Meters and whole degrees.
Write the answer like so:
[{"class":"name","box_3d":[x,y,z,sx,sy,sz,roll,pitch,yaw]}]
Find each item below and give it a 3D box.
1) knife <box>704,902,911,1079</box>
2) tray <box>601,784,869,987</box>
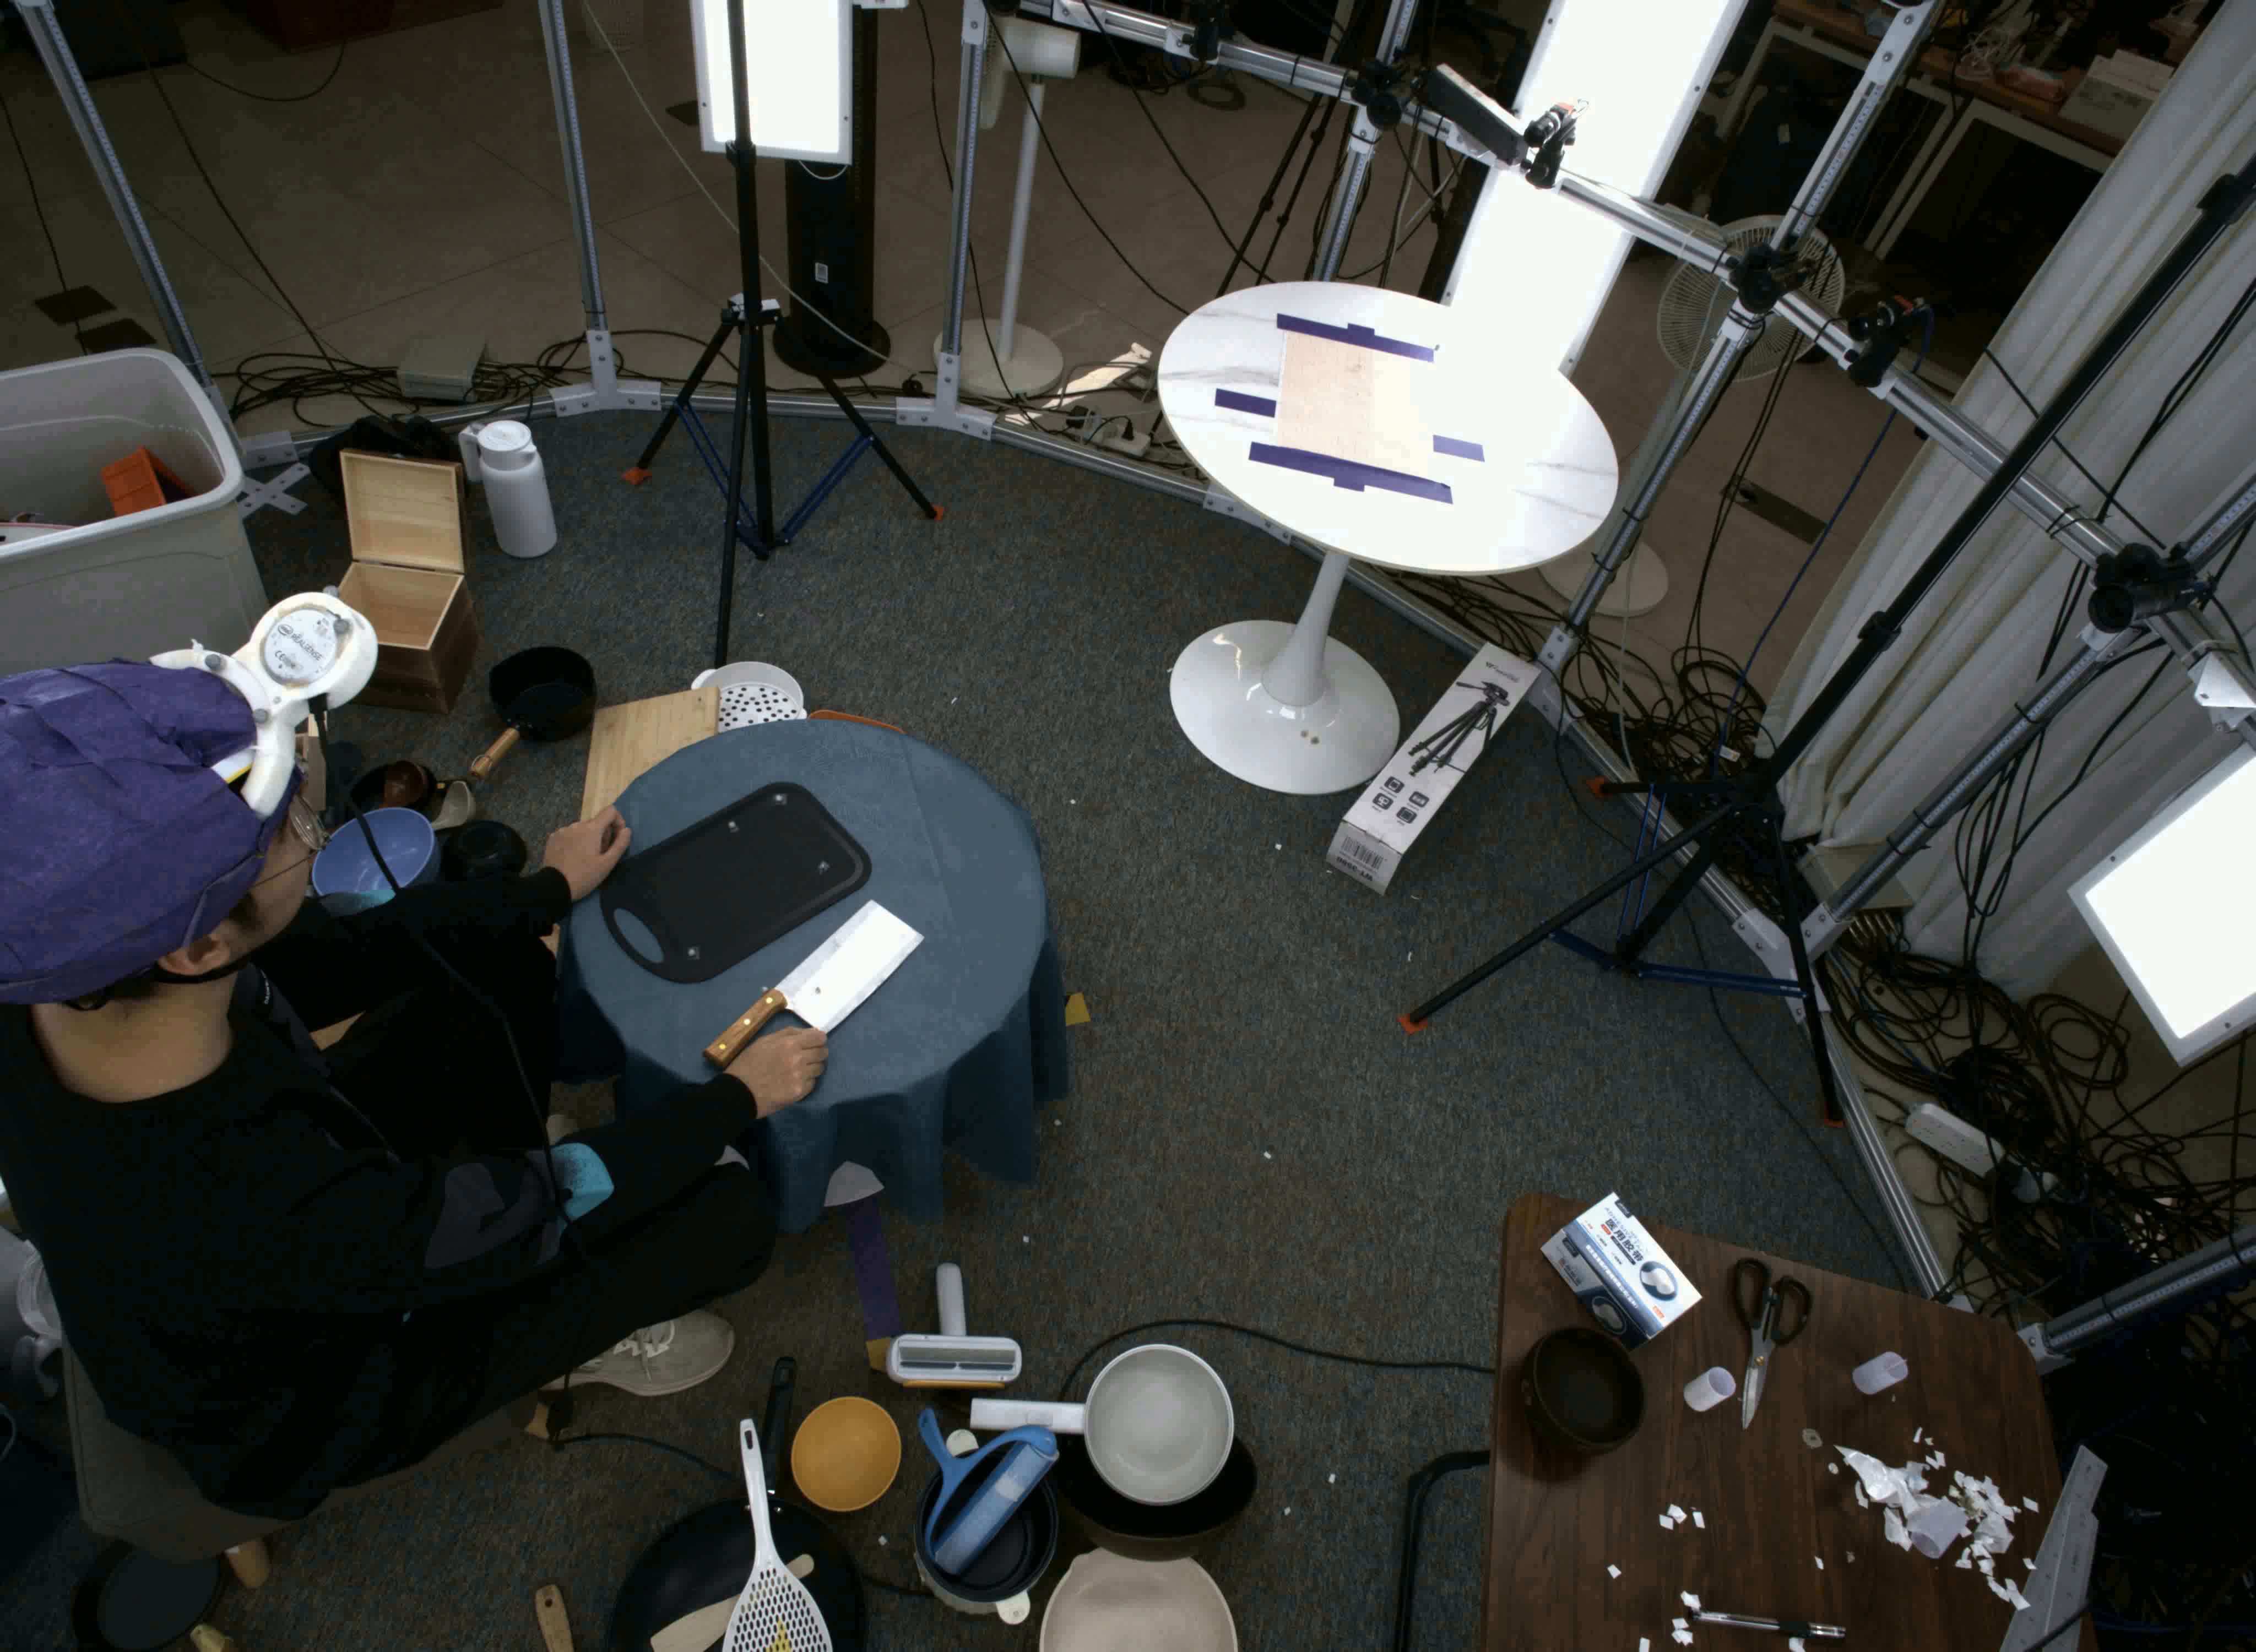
[{"class":"knife","box_3d":[-0.376,0.203,1.565,0.091,0.021,0.305,35,50,10]},{"class":"tray","box_3d":[-0.503,0.069,1.636,0.326,0.010,0.206,-34,68,-33]}]
